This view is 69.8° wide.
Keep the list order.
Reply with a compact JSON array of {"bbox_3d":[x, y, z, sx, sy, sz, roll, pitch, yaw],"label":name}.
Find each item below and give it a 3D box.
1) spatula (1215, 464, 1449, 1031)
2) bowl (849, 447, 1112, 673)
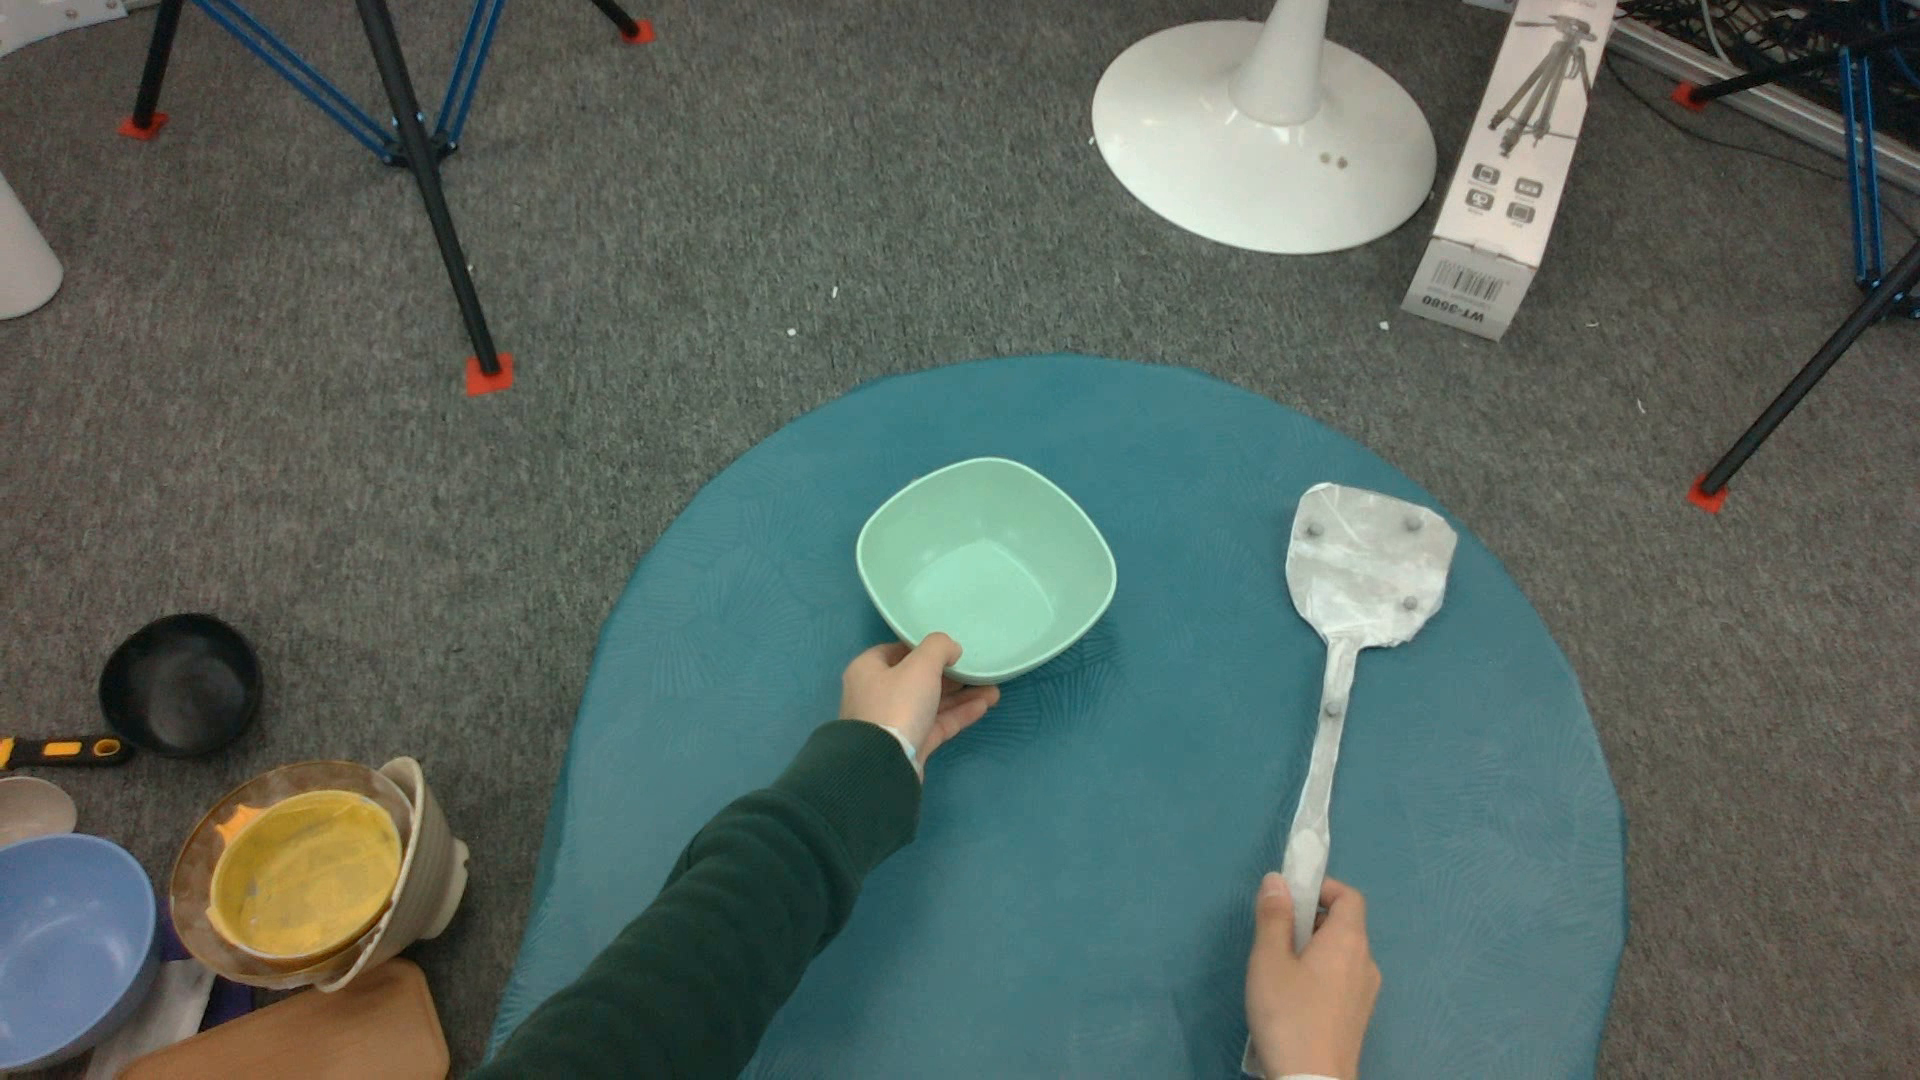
[{"bbox_3d":[0.201,0.103,0.776,0.098,0.044,0.367,20,52,8],"label":"spatula"},{"bbox_3d":[0.010,0.021,0.808,0.151,0.058,0.152,2,54,-3],"label":"bowl"}]
